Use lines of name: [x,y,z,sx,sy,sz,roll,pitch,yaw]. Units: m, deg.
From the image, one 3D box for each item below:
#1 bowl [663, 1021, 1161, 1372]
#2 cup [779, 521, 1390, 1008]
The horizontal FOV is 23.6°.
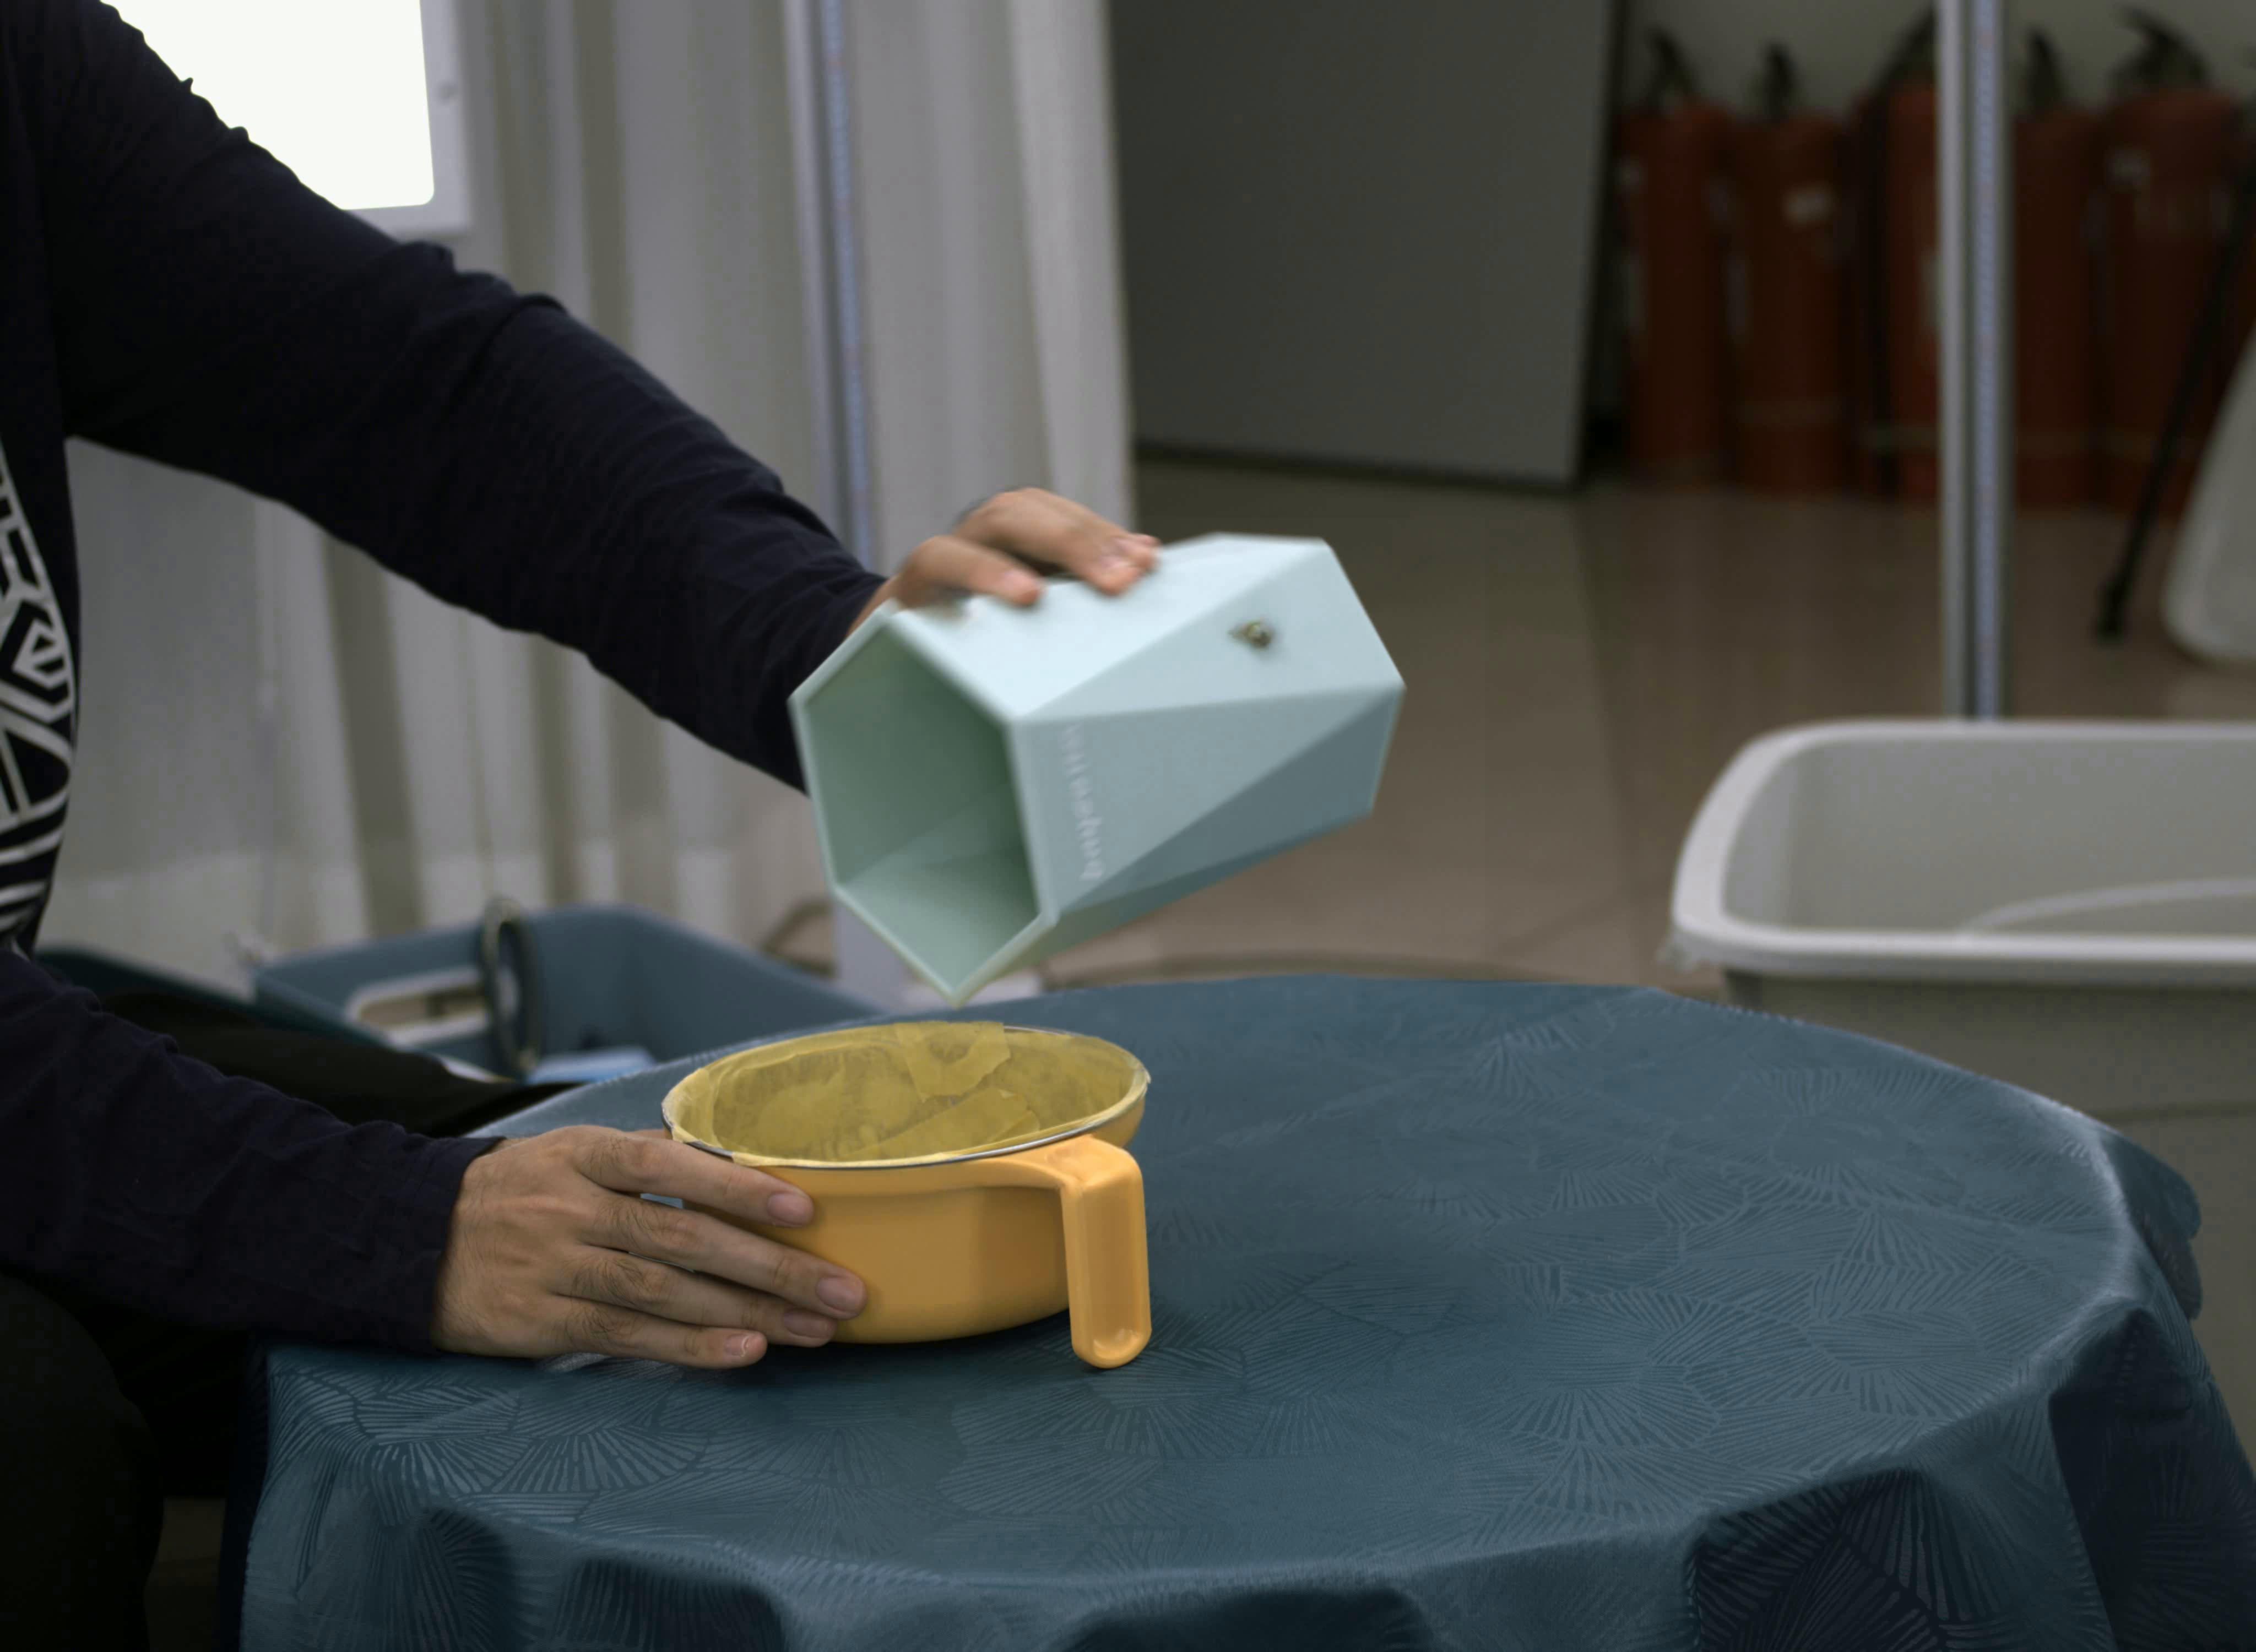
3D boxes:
bowl: [-0.058,0.118,1.671,0.150,0.075,0.181,-16,15,-39]
cup: [-0.008,-0.031,1.699,0.160,0.132,0.116,-21,14,-33]
